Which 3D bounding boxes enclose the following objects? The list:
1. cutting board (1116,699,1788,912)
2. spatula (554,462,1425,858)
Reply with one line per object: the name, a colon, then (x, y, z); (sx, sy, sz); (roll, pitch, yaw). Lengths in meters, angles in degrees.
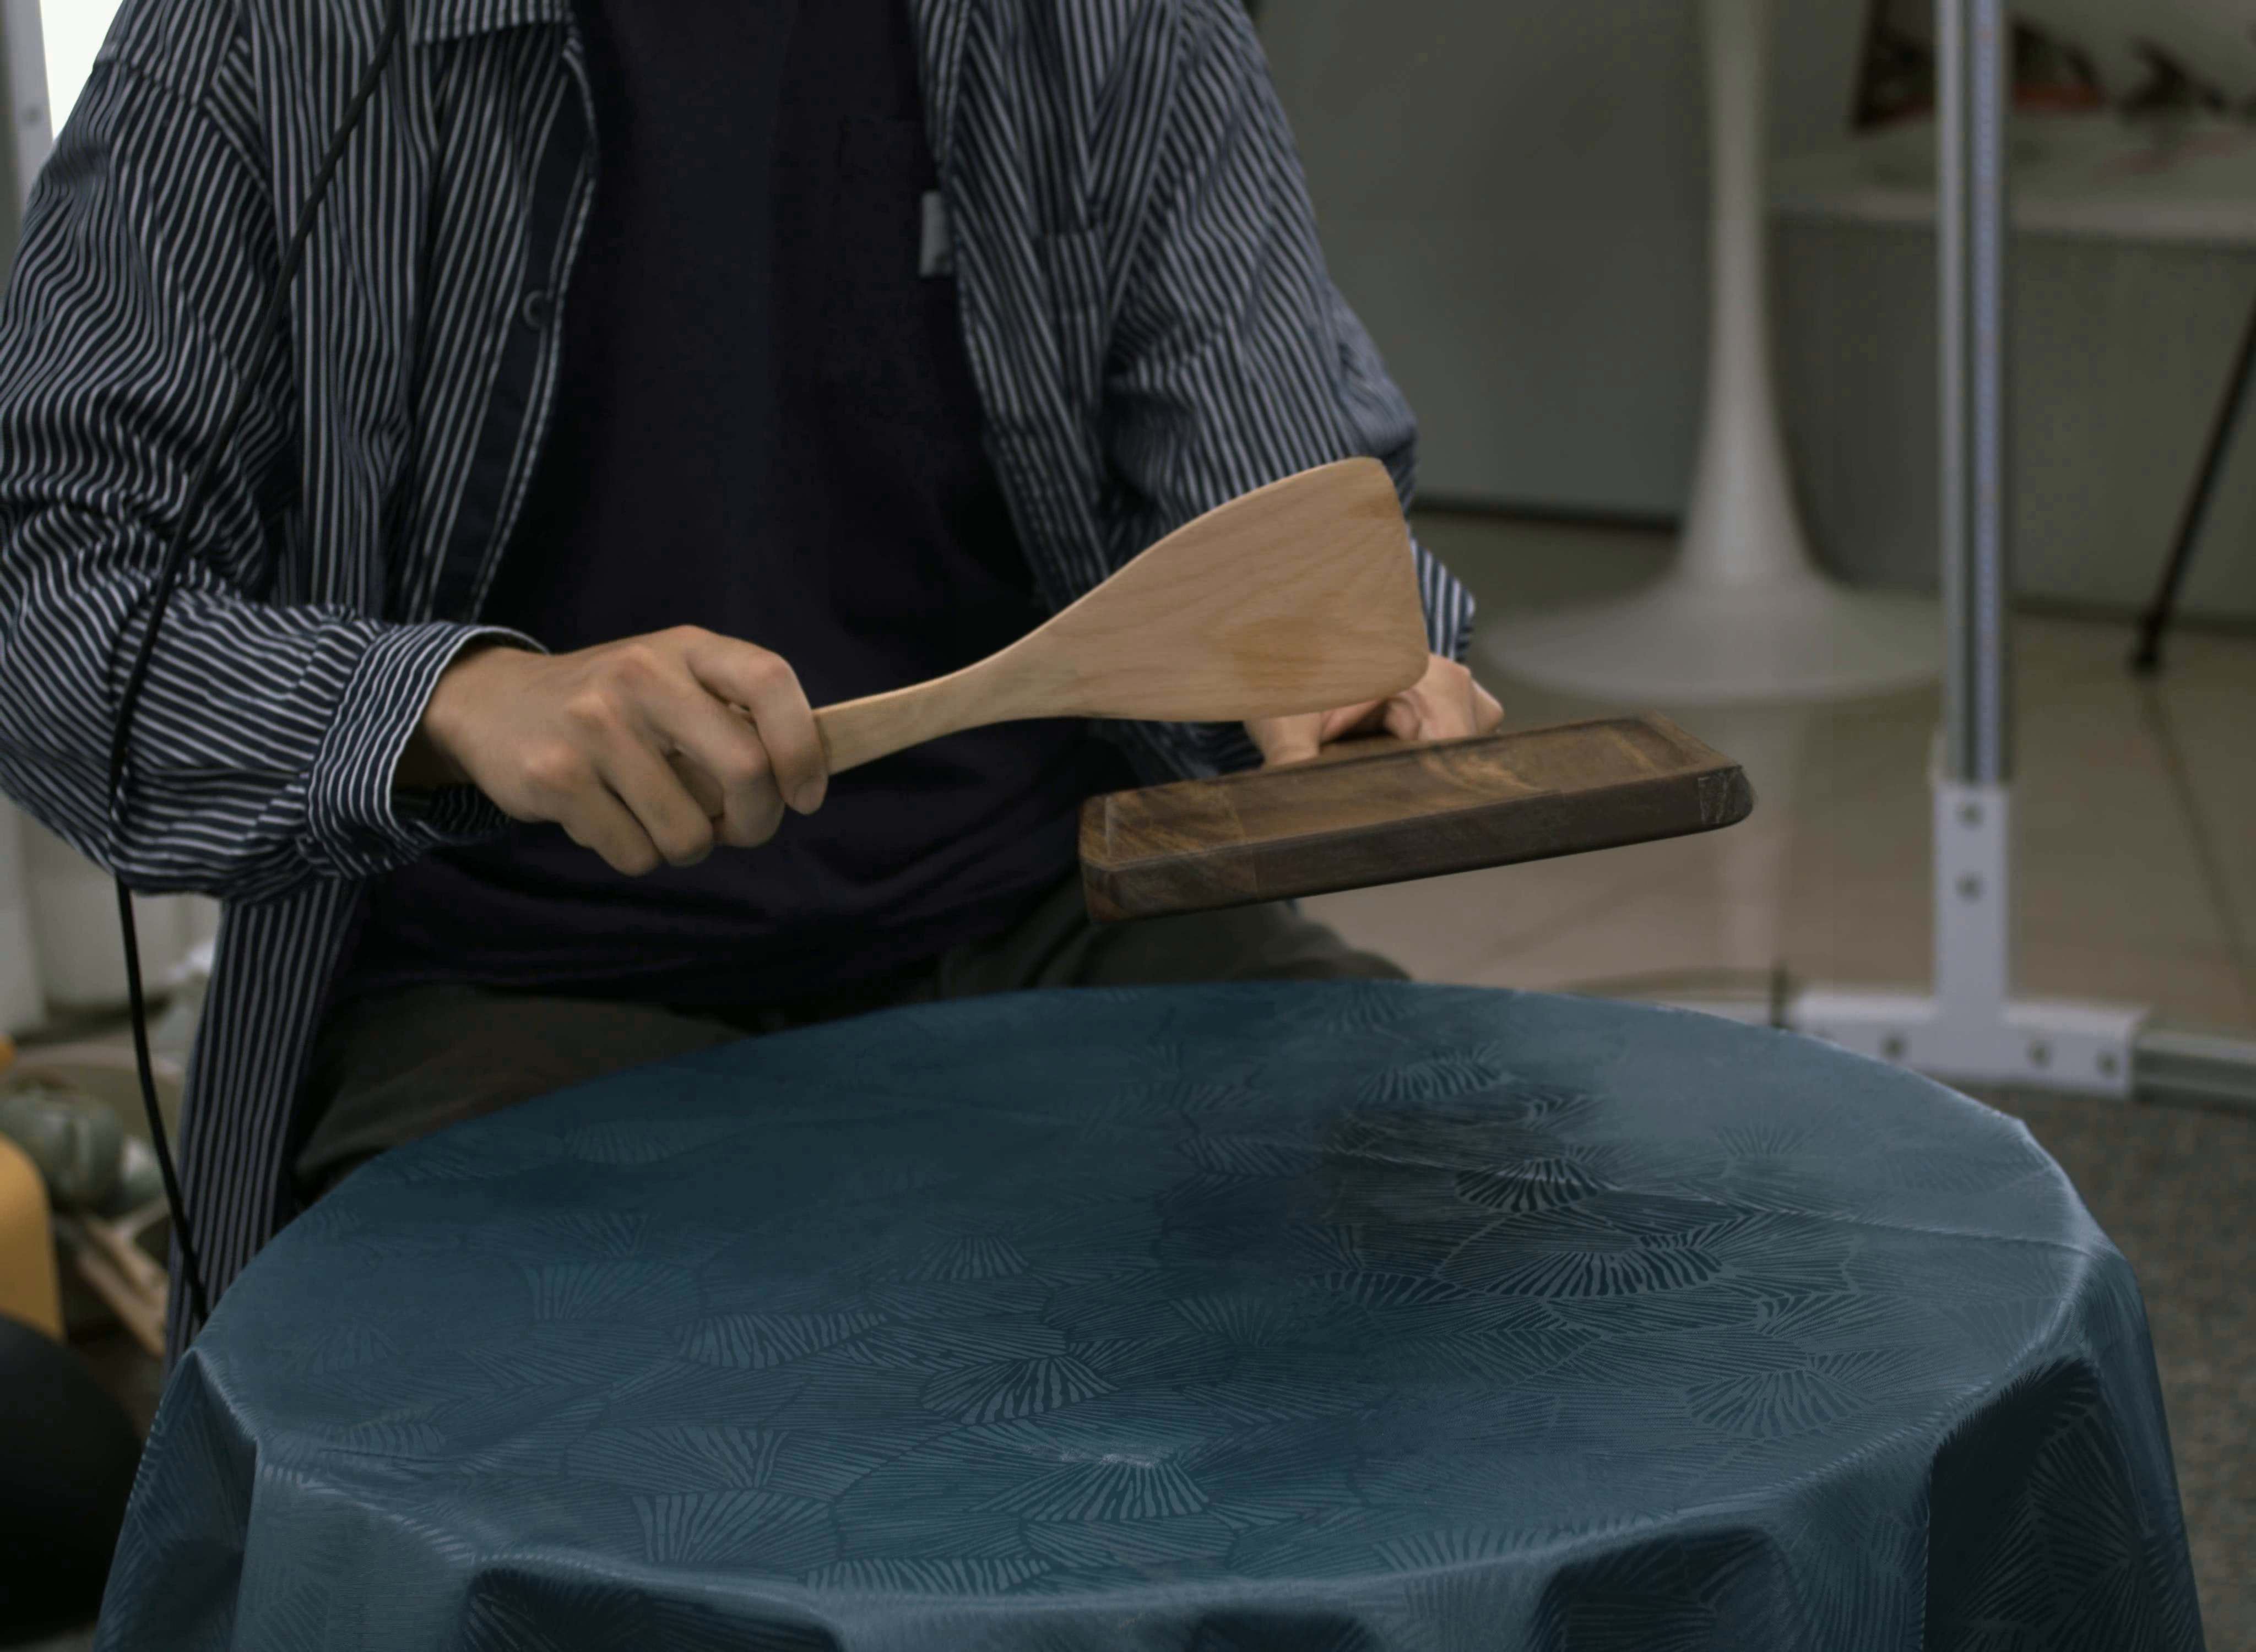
cutting board: (0.095, -0.012, 1.728); (0.199, 0.023, 0.352); (-9, 4, 2)
spatula: (-0.050, -0.039, 1.759); (0.328, 0.080, 0.016); (-16, 17, 27)
